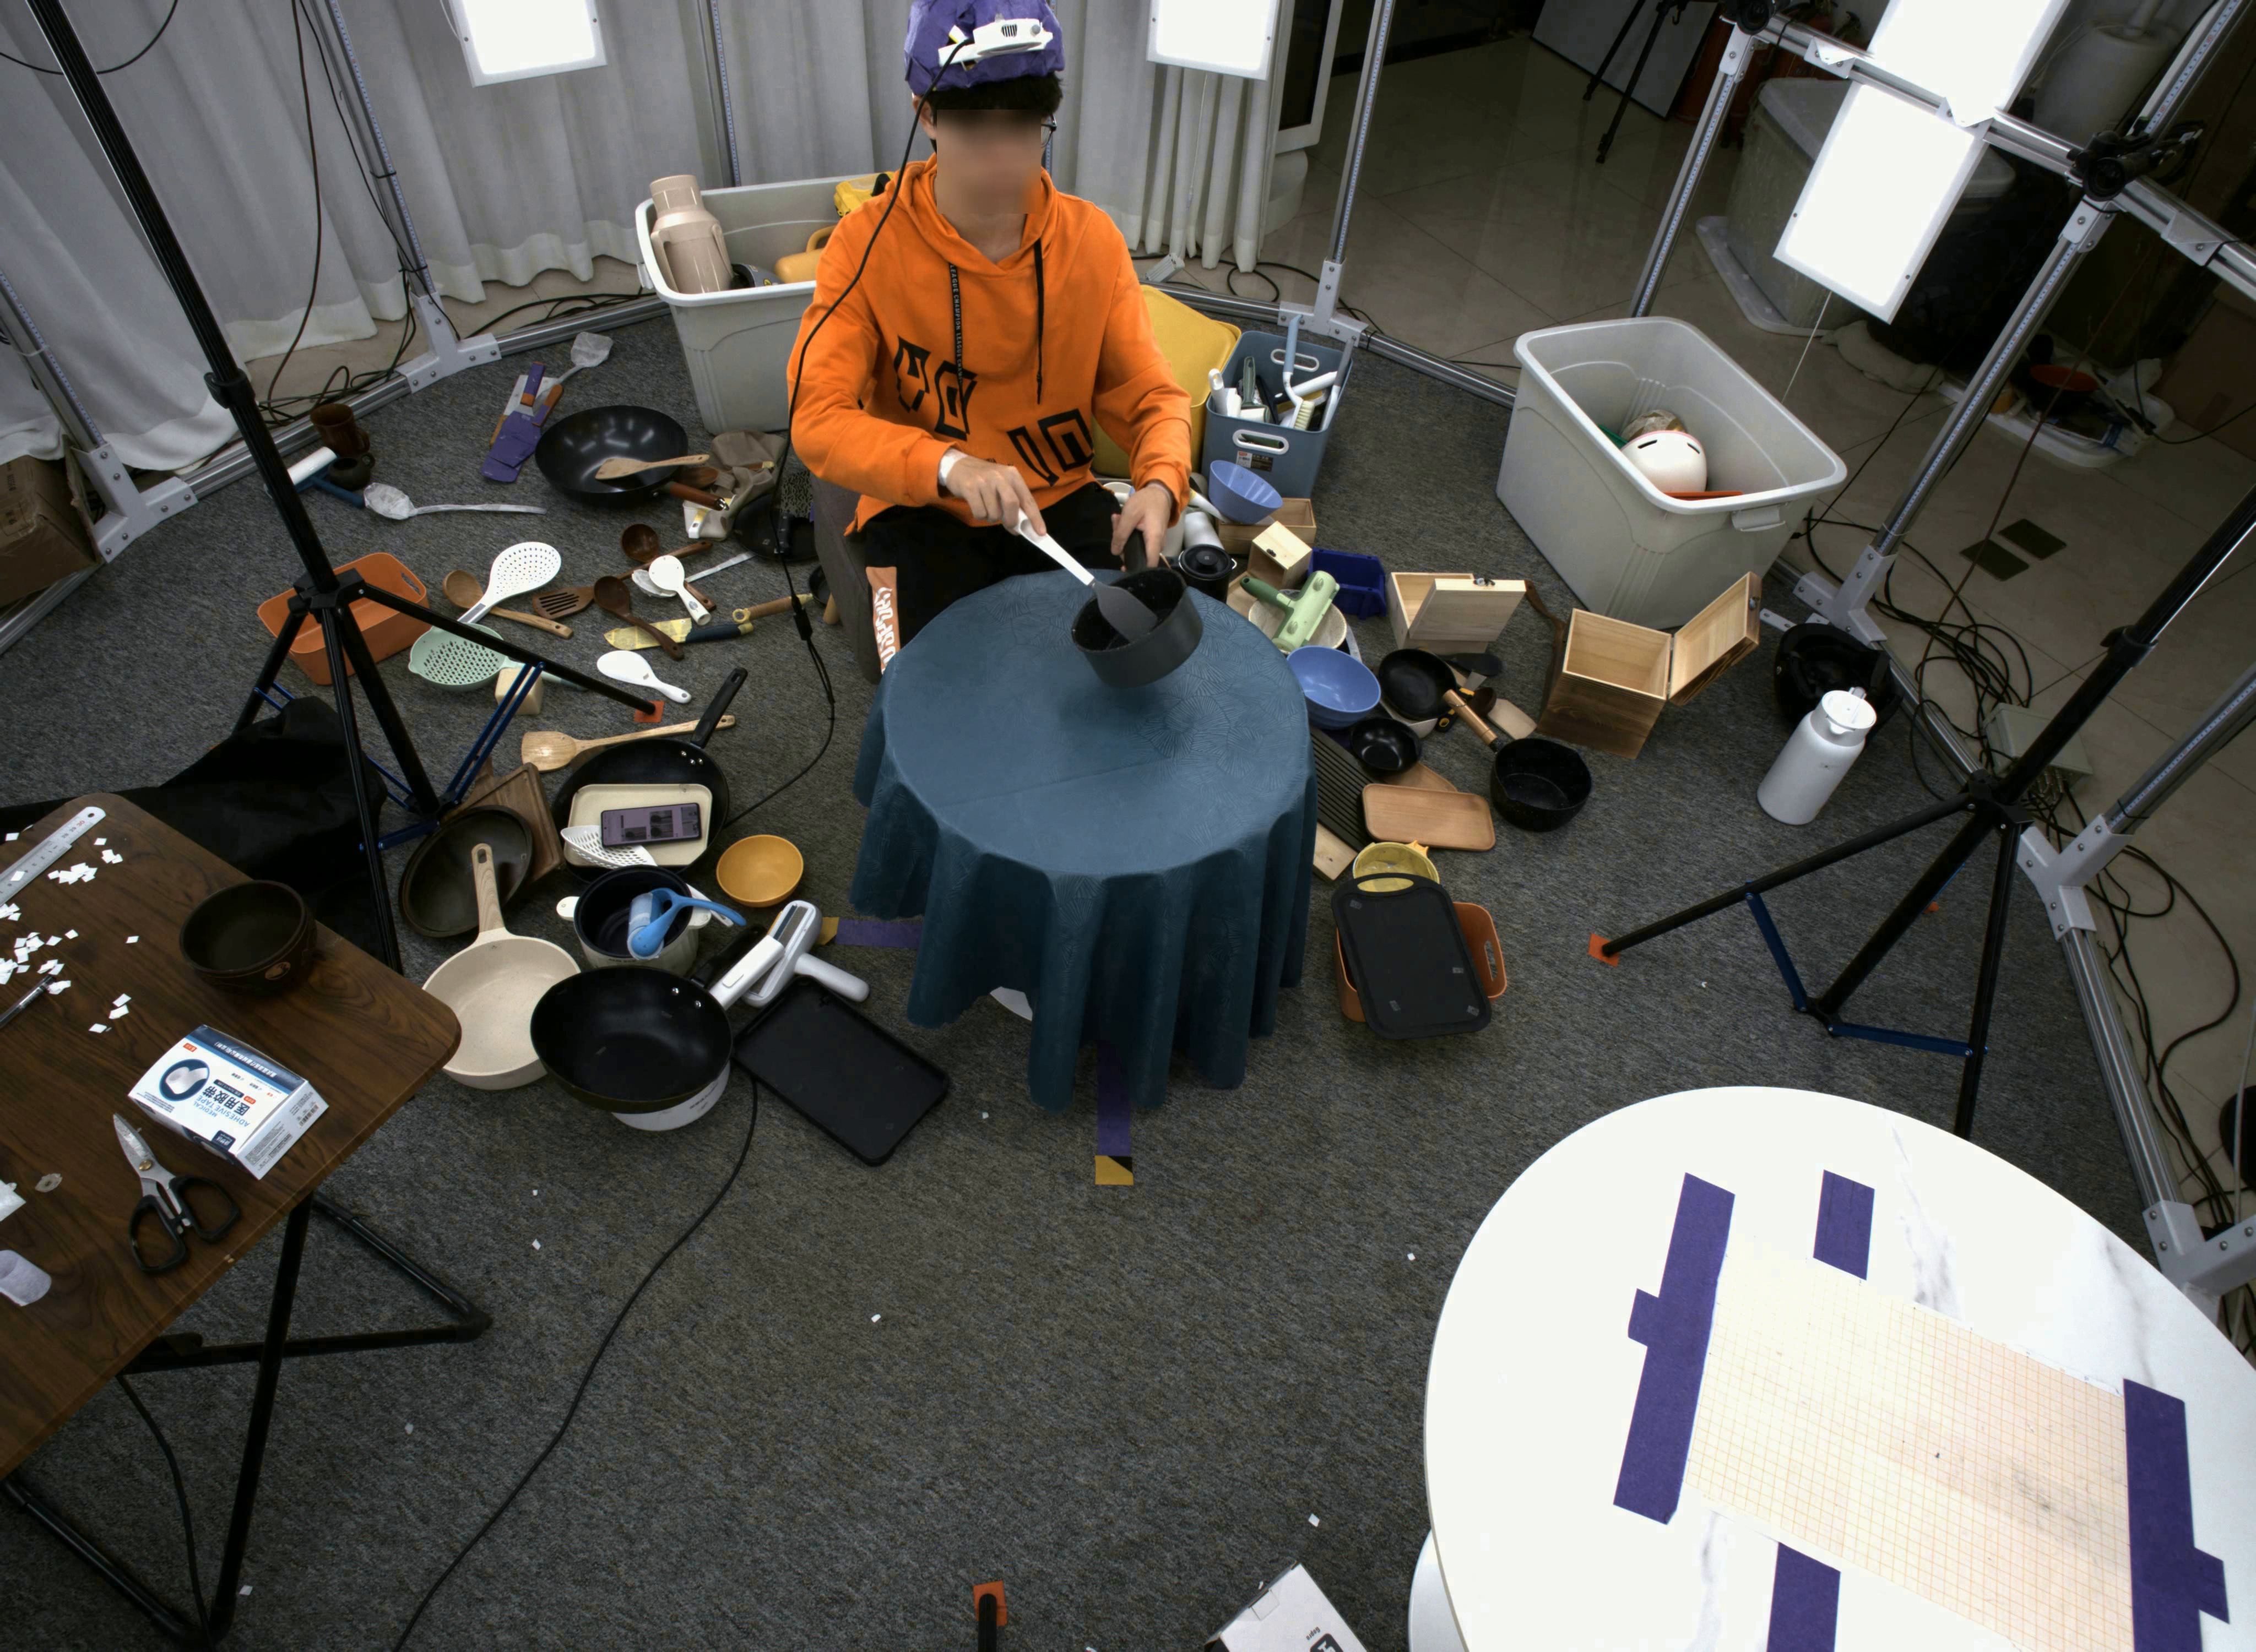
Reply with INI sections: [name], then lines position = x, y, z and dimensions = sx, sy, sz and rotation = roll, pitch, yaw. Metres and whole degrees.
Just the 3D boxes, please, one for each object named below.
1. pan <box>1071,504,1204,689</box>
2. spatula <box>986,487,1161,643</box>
[pan]
position = 0.019, -0.327, 1.811
dimensions = 0.171, 0.084, 0.337
rotation = -16, 42, 20
[spatula]
position = -0.076, -0.357, 1.767
dimensions = 0.287, 0.032, 0.059
rotation = 41, 86, 0
